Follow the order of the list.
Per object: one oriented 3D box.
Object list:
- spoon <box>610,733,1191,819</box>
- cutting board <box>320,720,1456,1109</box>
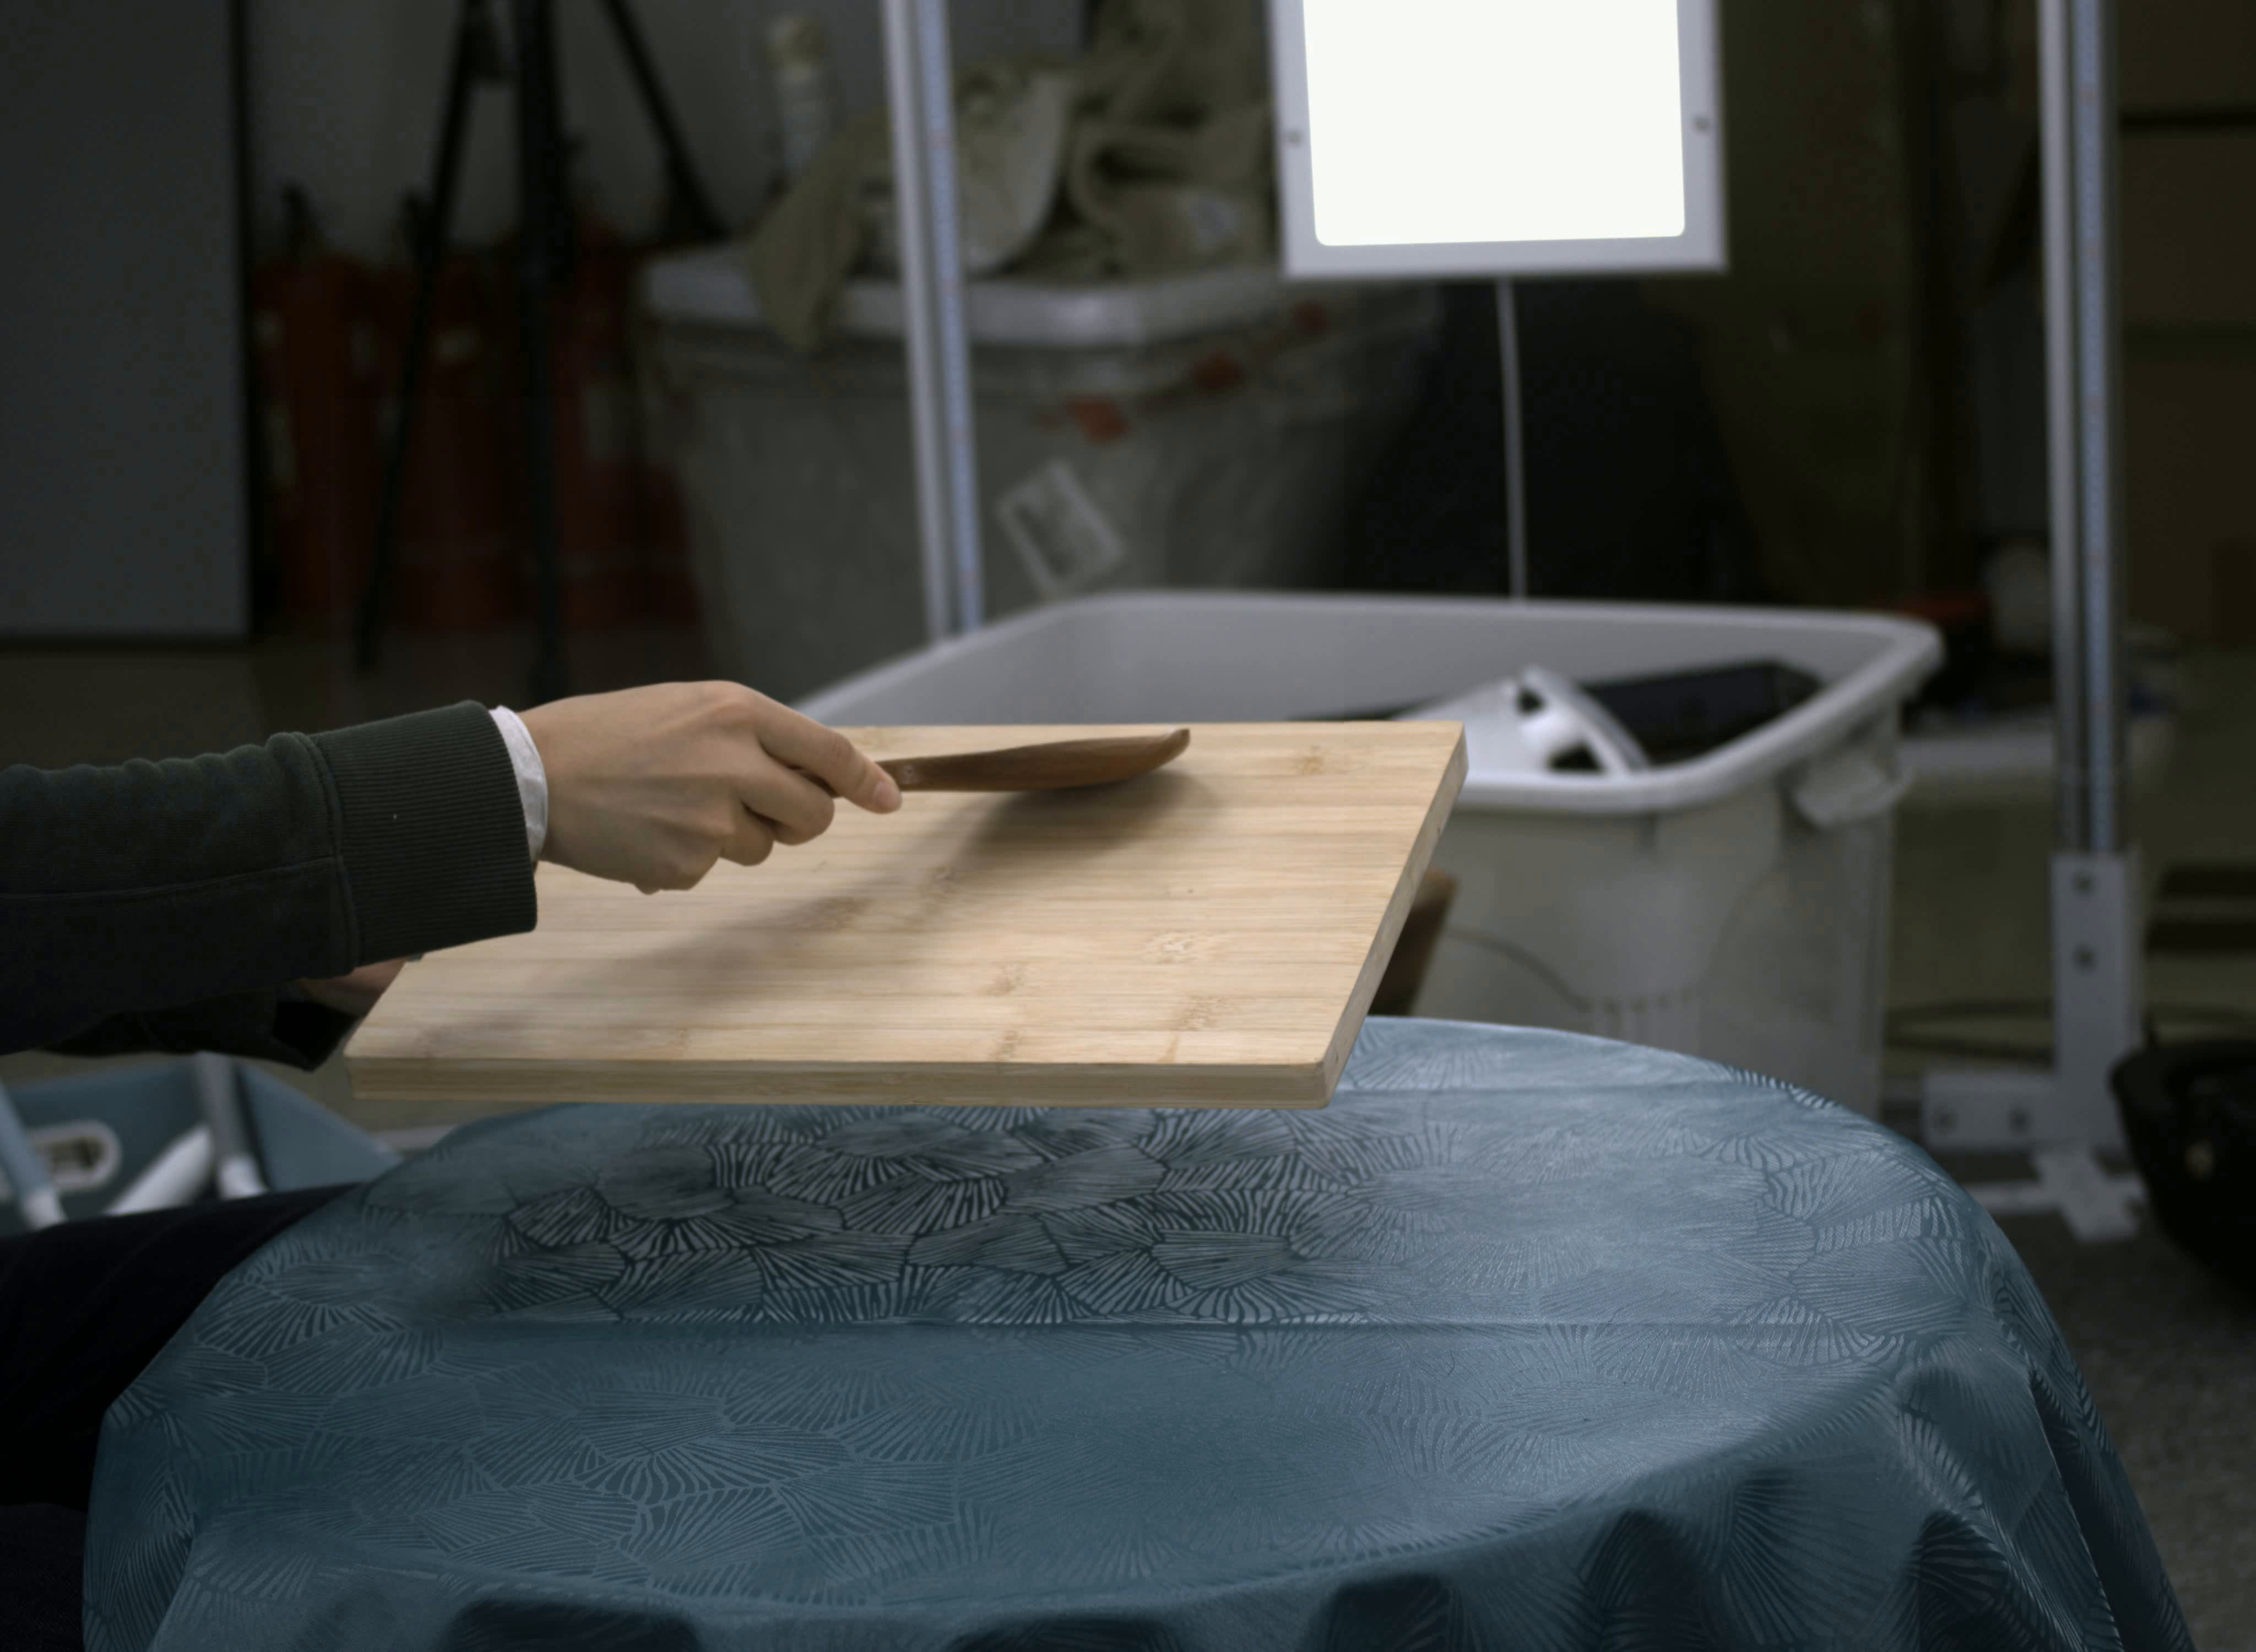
[{"bbox_3d":[-0.076,-0.017,1.883,0.211,0.017,0.077,-5,0,-26],"label":"spoon"},{"bbox_3d":[-0.077,0.028,1.898,0.352,0.023,0.247,-1,28,17],"label":"cutting board"}]
